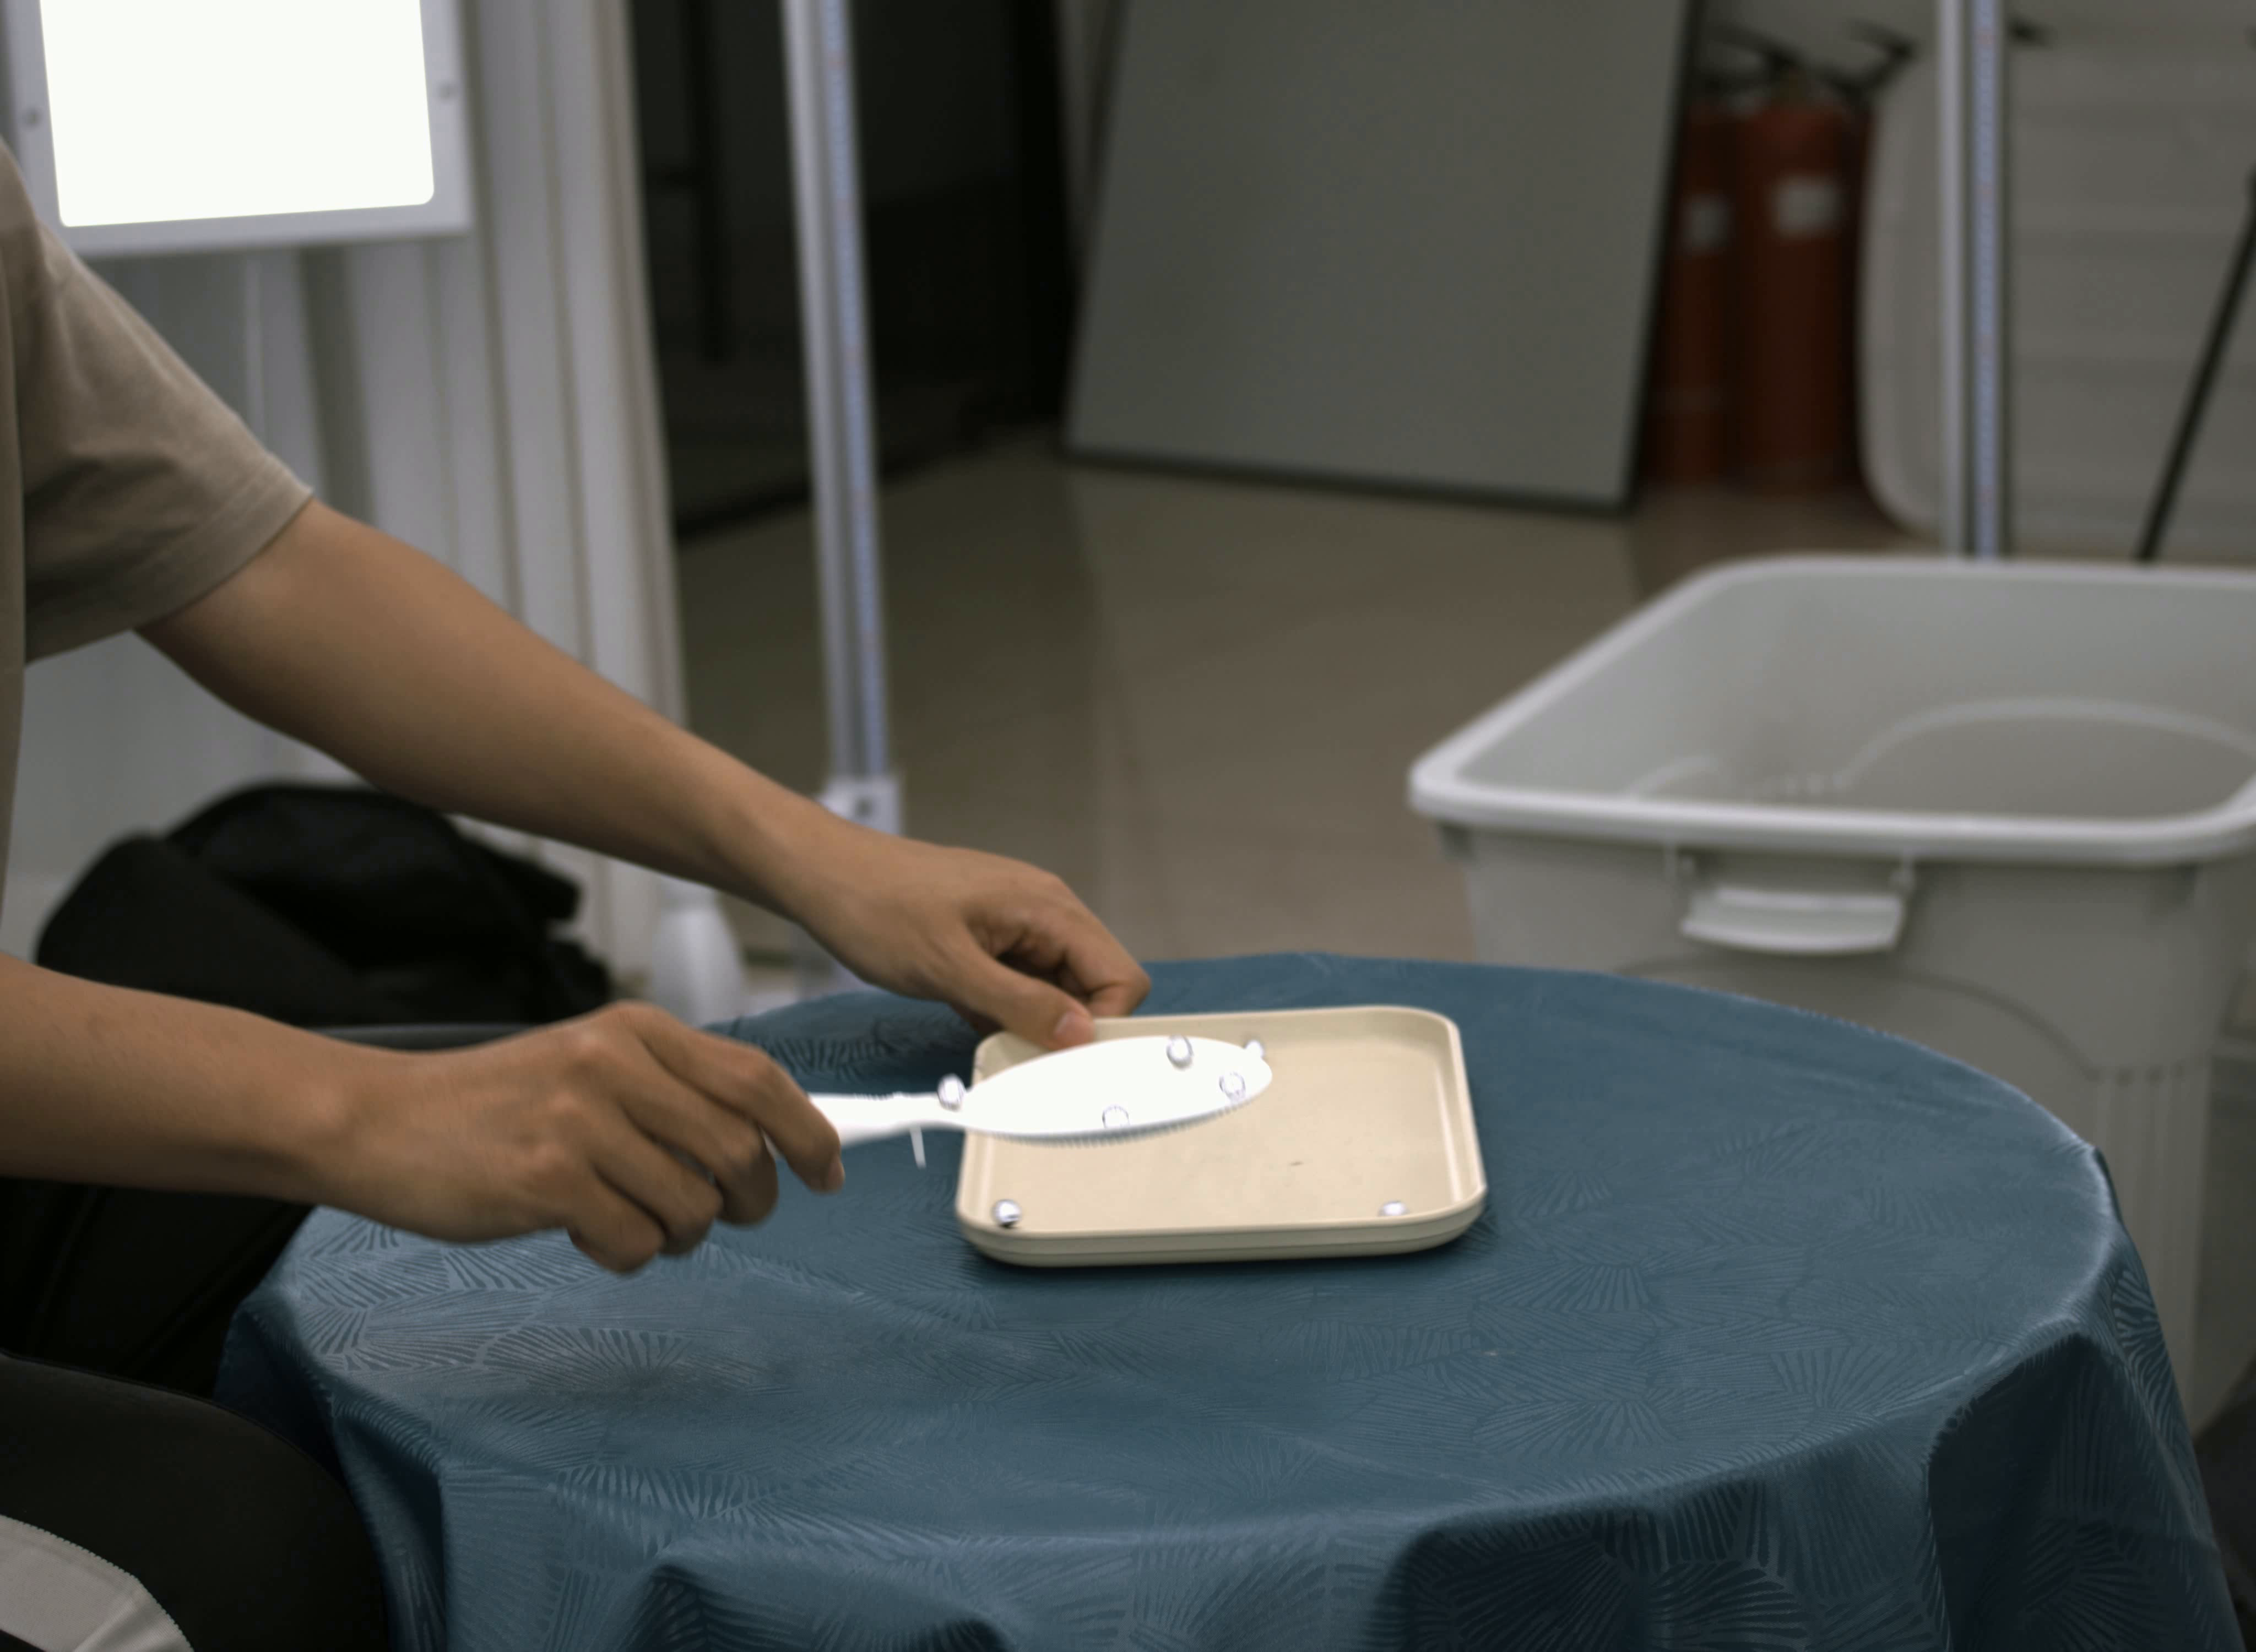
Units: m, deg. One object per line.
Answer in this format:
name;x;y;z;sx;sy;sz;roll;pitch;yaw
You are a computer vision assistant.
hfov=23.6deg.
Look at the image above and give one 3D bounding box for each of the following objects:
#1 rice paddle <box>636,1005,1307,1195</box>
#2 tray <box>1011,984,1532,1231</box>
rice paddle;-0.046;0.078;1.625;0.202;0.029;0.069;-10;20;-1
tray;0.046;0.094;1.811;0.169;0.017;0.240;-3;13;1
